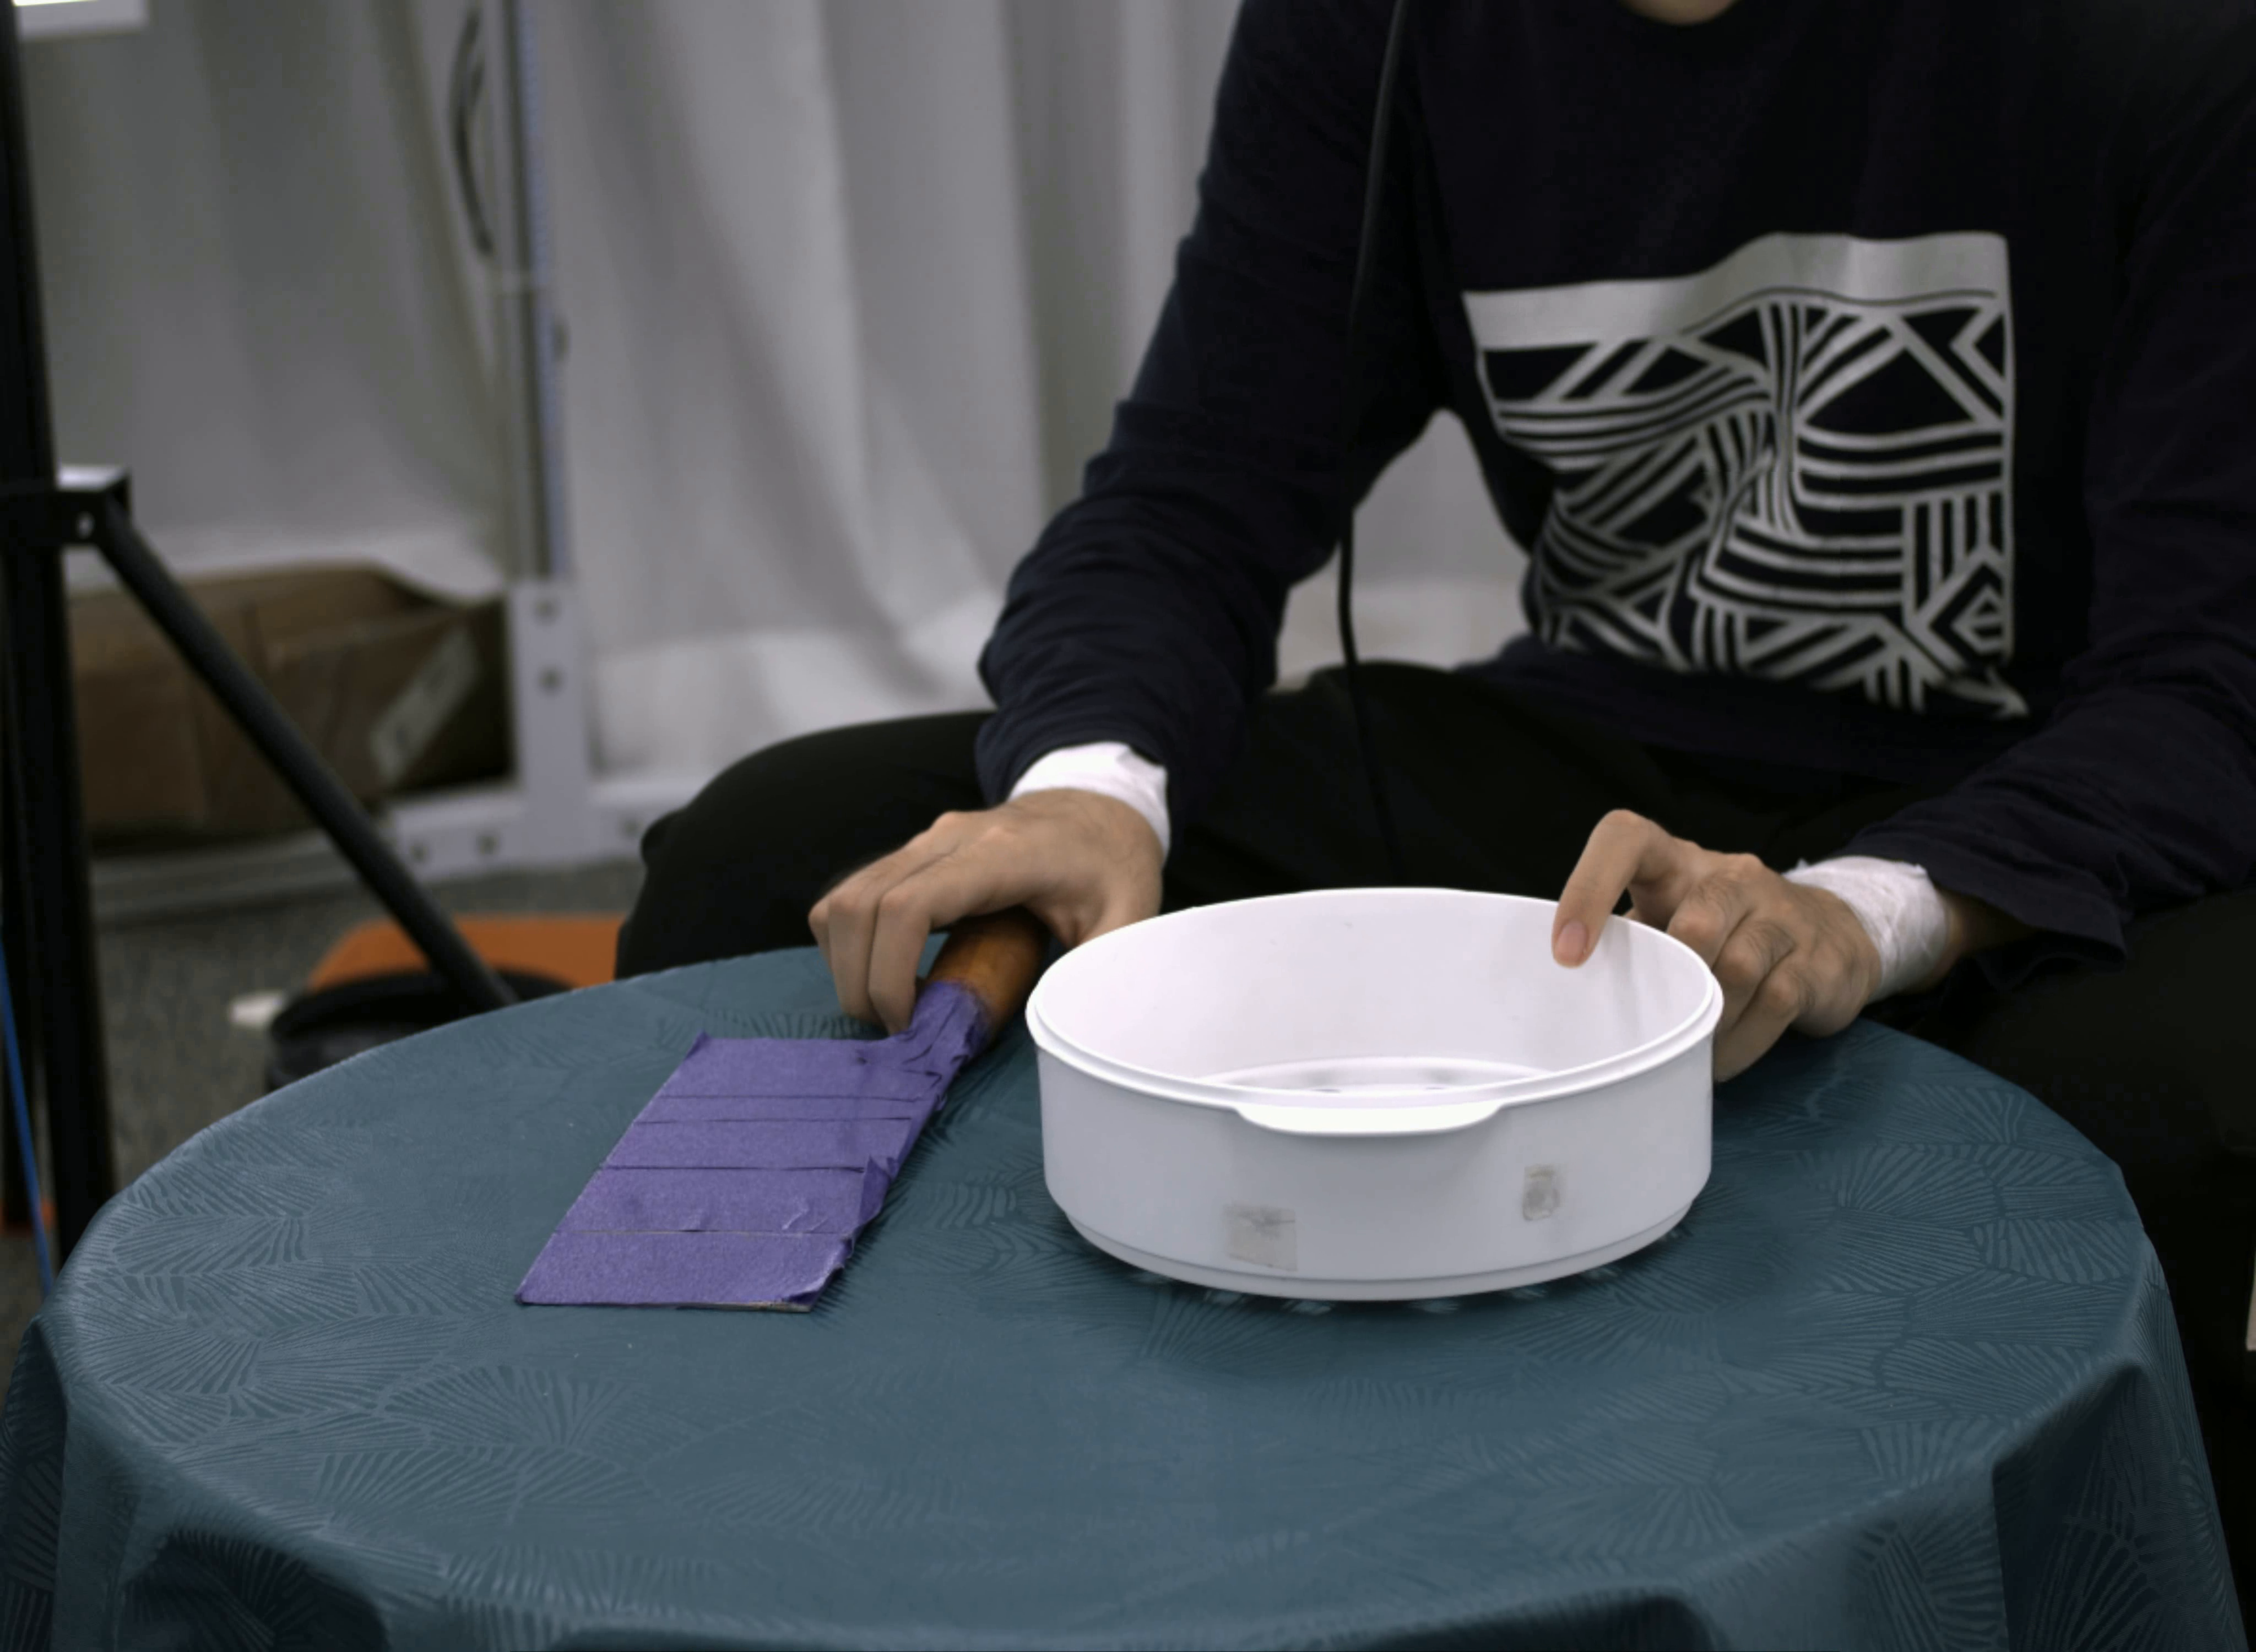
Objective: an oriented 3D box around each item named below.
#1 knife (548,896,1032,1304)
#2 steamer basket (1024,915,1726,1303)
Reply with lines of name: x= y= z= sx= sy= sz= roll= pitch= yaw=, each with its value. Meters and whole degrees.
knife: x=-0.100 y=0.080 z=1.626 sx=0.104 sy=0.032 sz=0.314 roll=1 pitch=17 yaw=10
steamer basket: x=0.071 y=0.081 z=1.529 sx=0.202 sy=0.069 sz=0.230 roll=0 pitch=13 yaw=5
